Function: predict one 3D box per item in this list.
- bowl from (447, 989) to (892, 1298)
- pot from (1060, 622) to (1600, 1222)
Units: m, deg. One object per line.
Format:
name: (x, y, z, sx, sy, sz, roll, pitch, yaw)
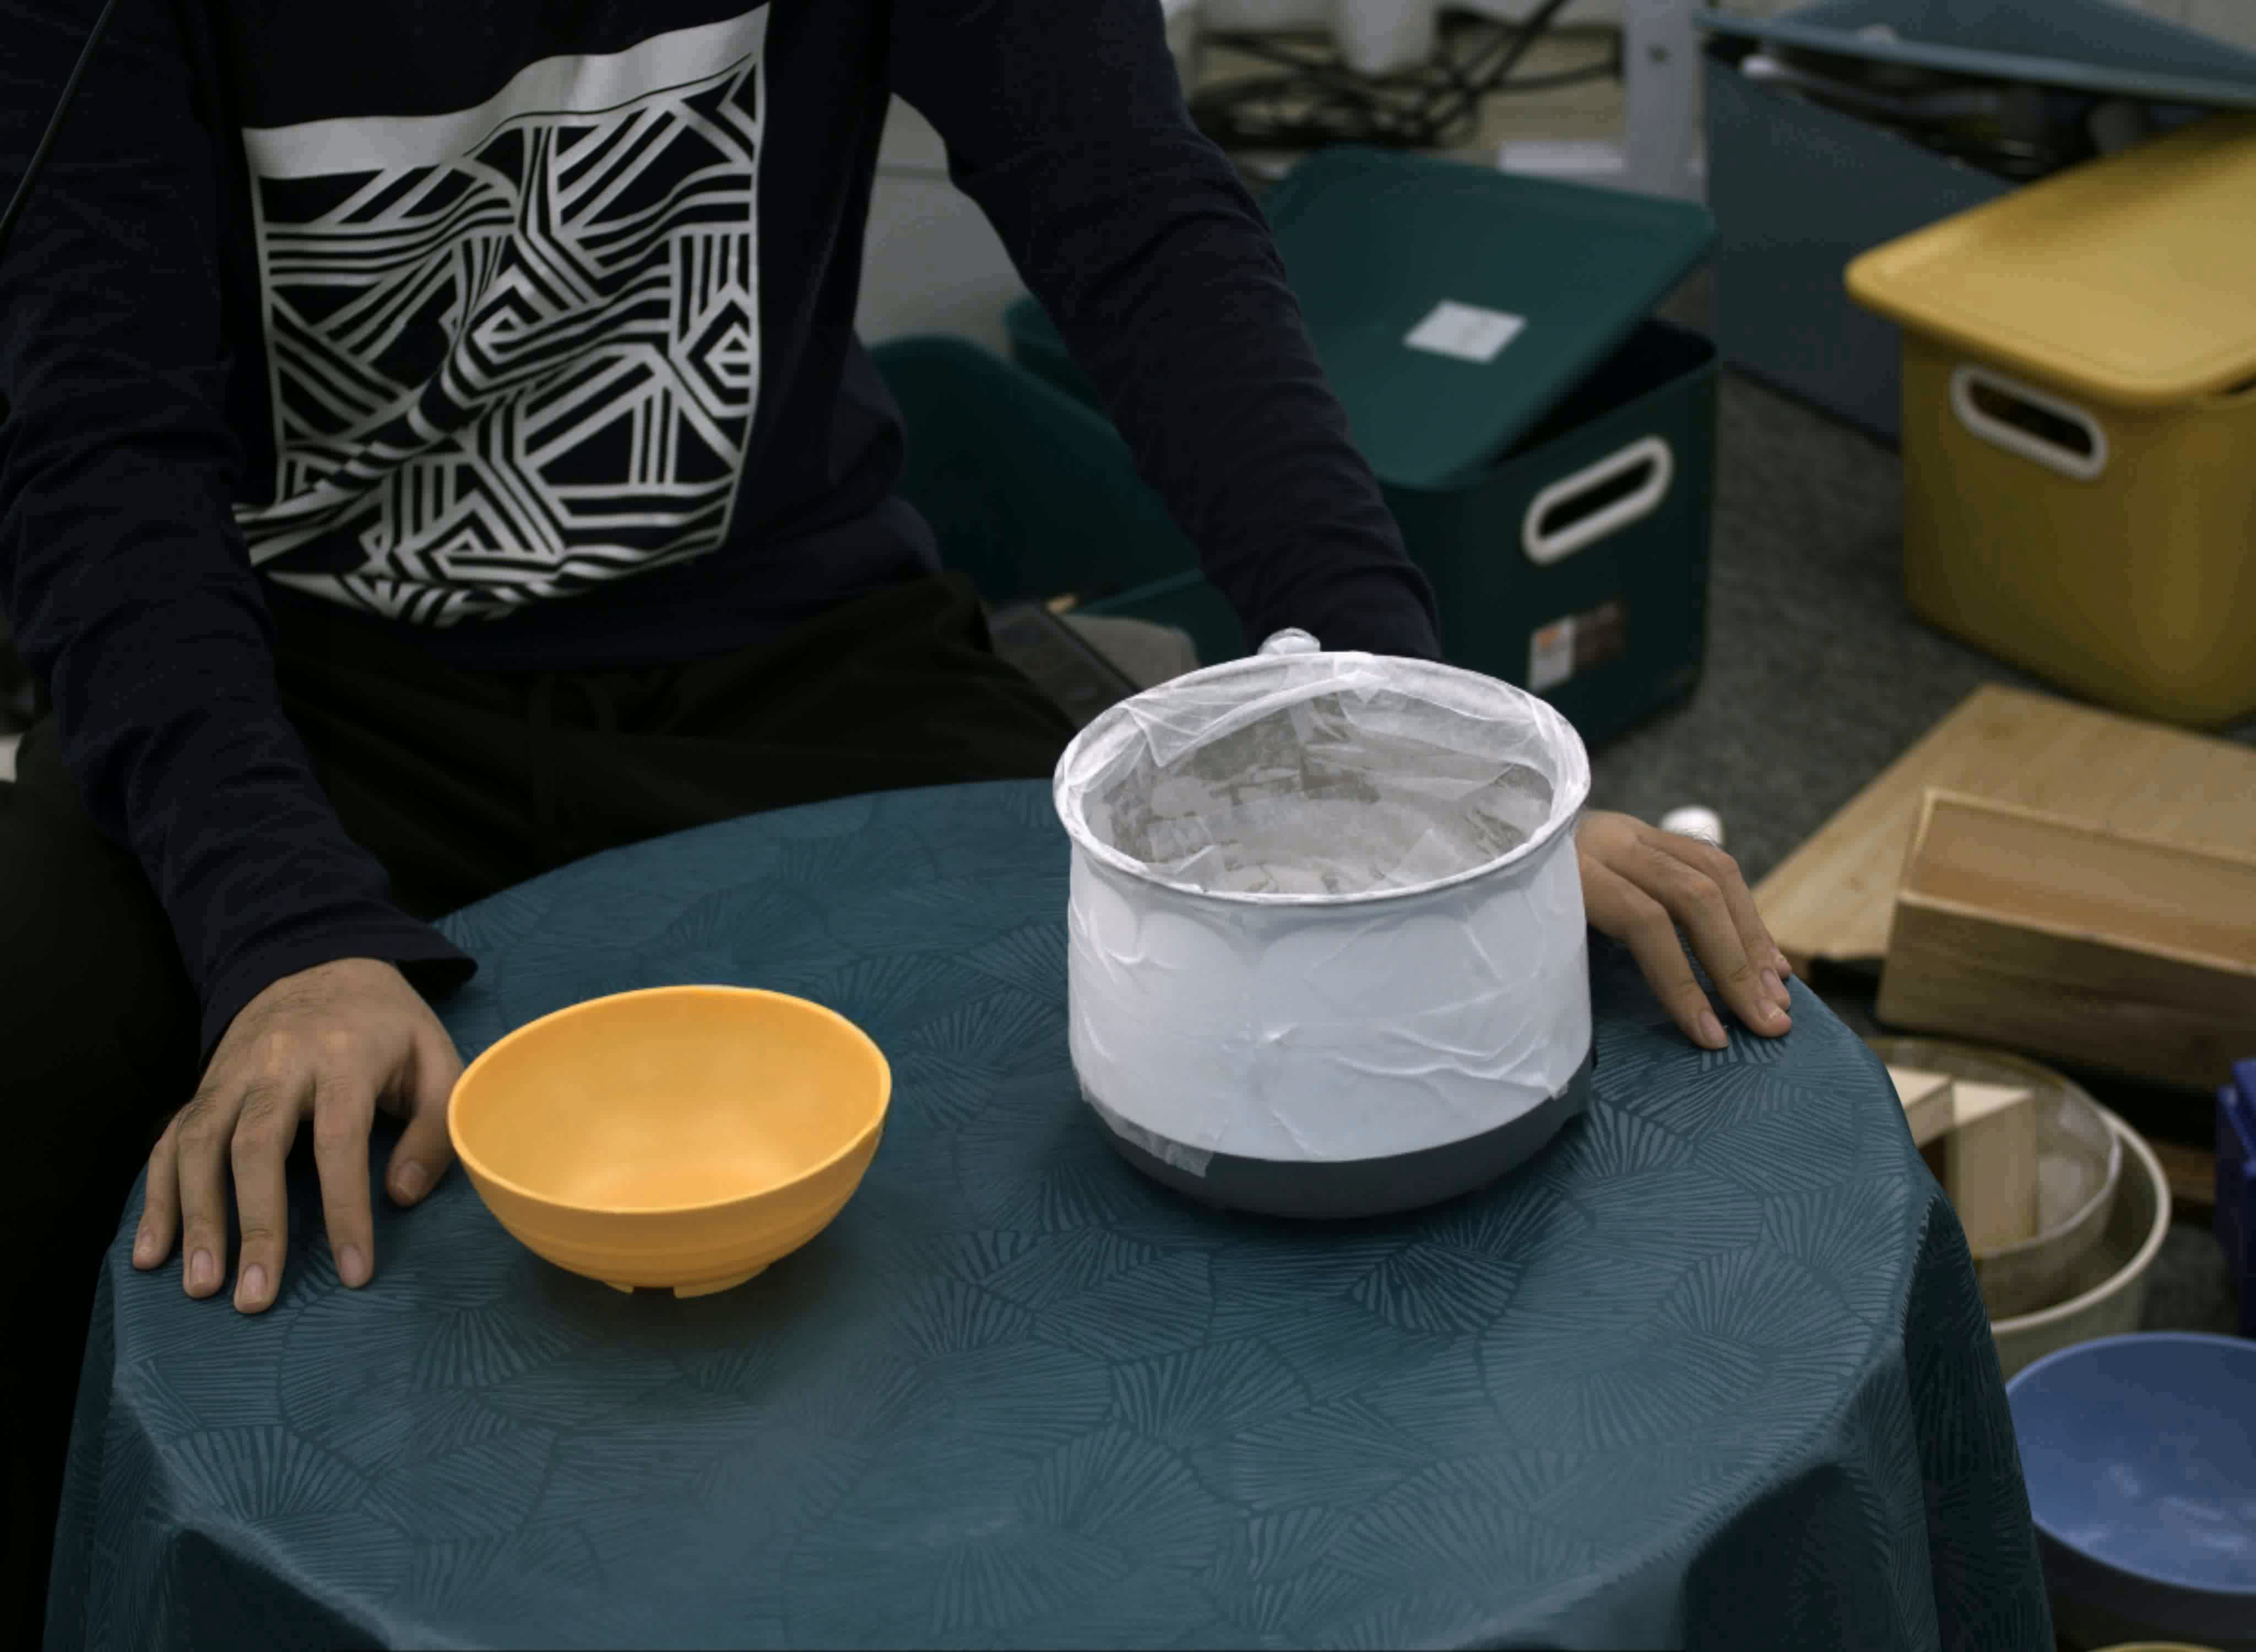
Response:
bowl: (-0.146, 0.112, 1.827, 0.144, 0.059, 0.147, -4, 26, 2)
pot: (0.063, 0.025, 1.894, 0.178, 0.135, 0.237, -2, 28, -5)
